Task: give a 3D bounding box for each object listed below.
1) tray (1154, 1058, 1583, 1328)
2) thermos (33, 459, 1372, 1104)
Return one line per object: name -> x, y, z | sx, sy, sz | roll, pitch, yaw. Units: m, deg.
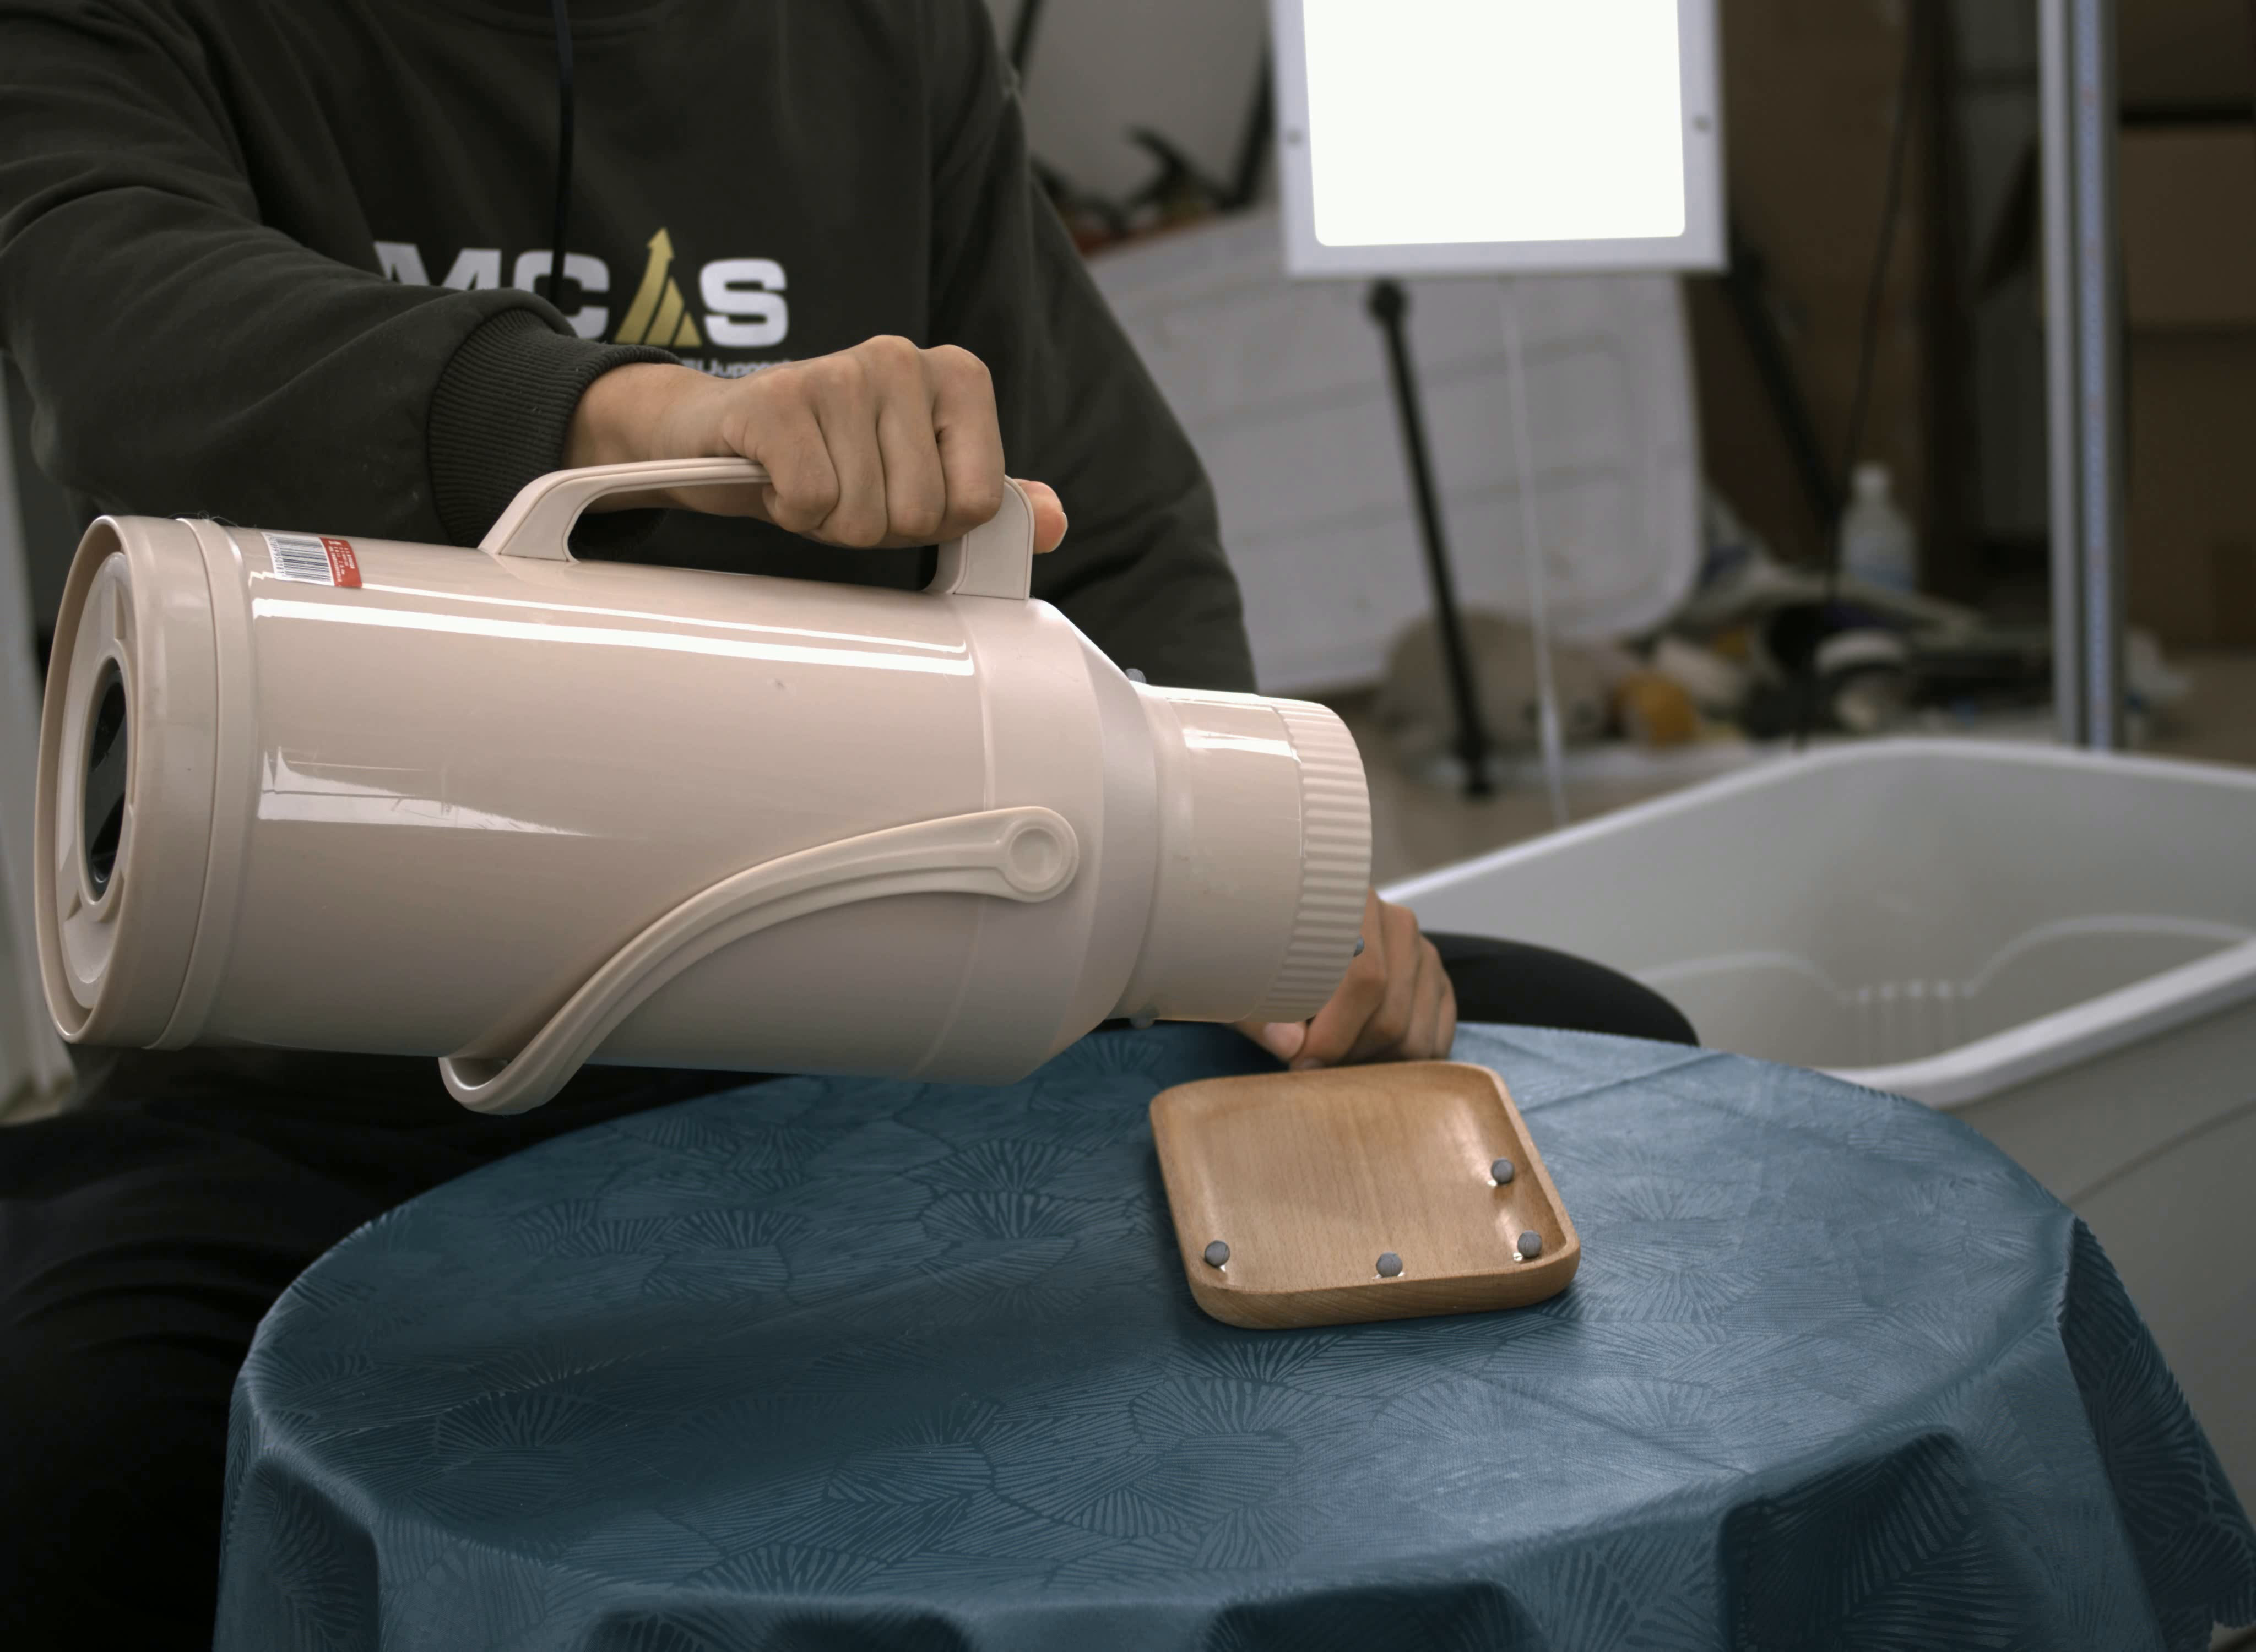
tray -> 0.078, 0.122, 1.858 | 0.130, 0.023, 0.250 | -3, 13, -1
thermos -> -0.128, -0.015, 1.719 | 0.400, 0.208, 0.177 | 4, 4, -17
